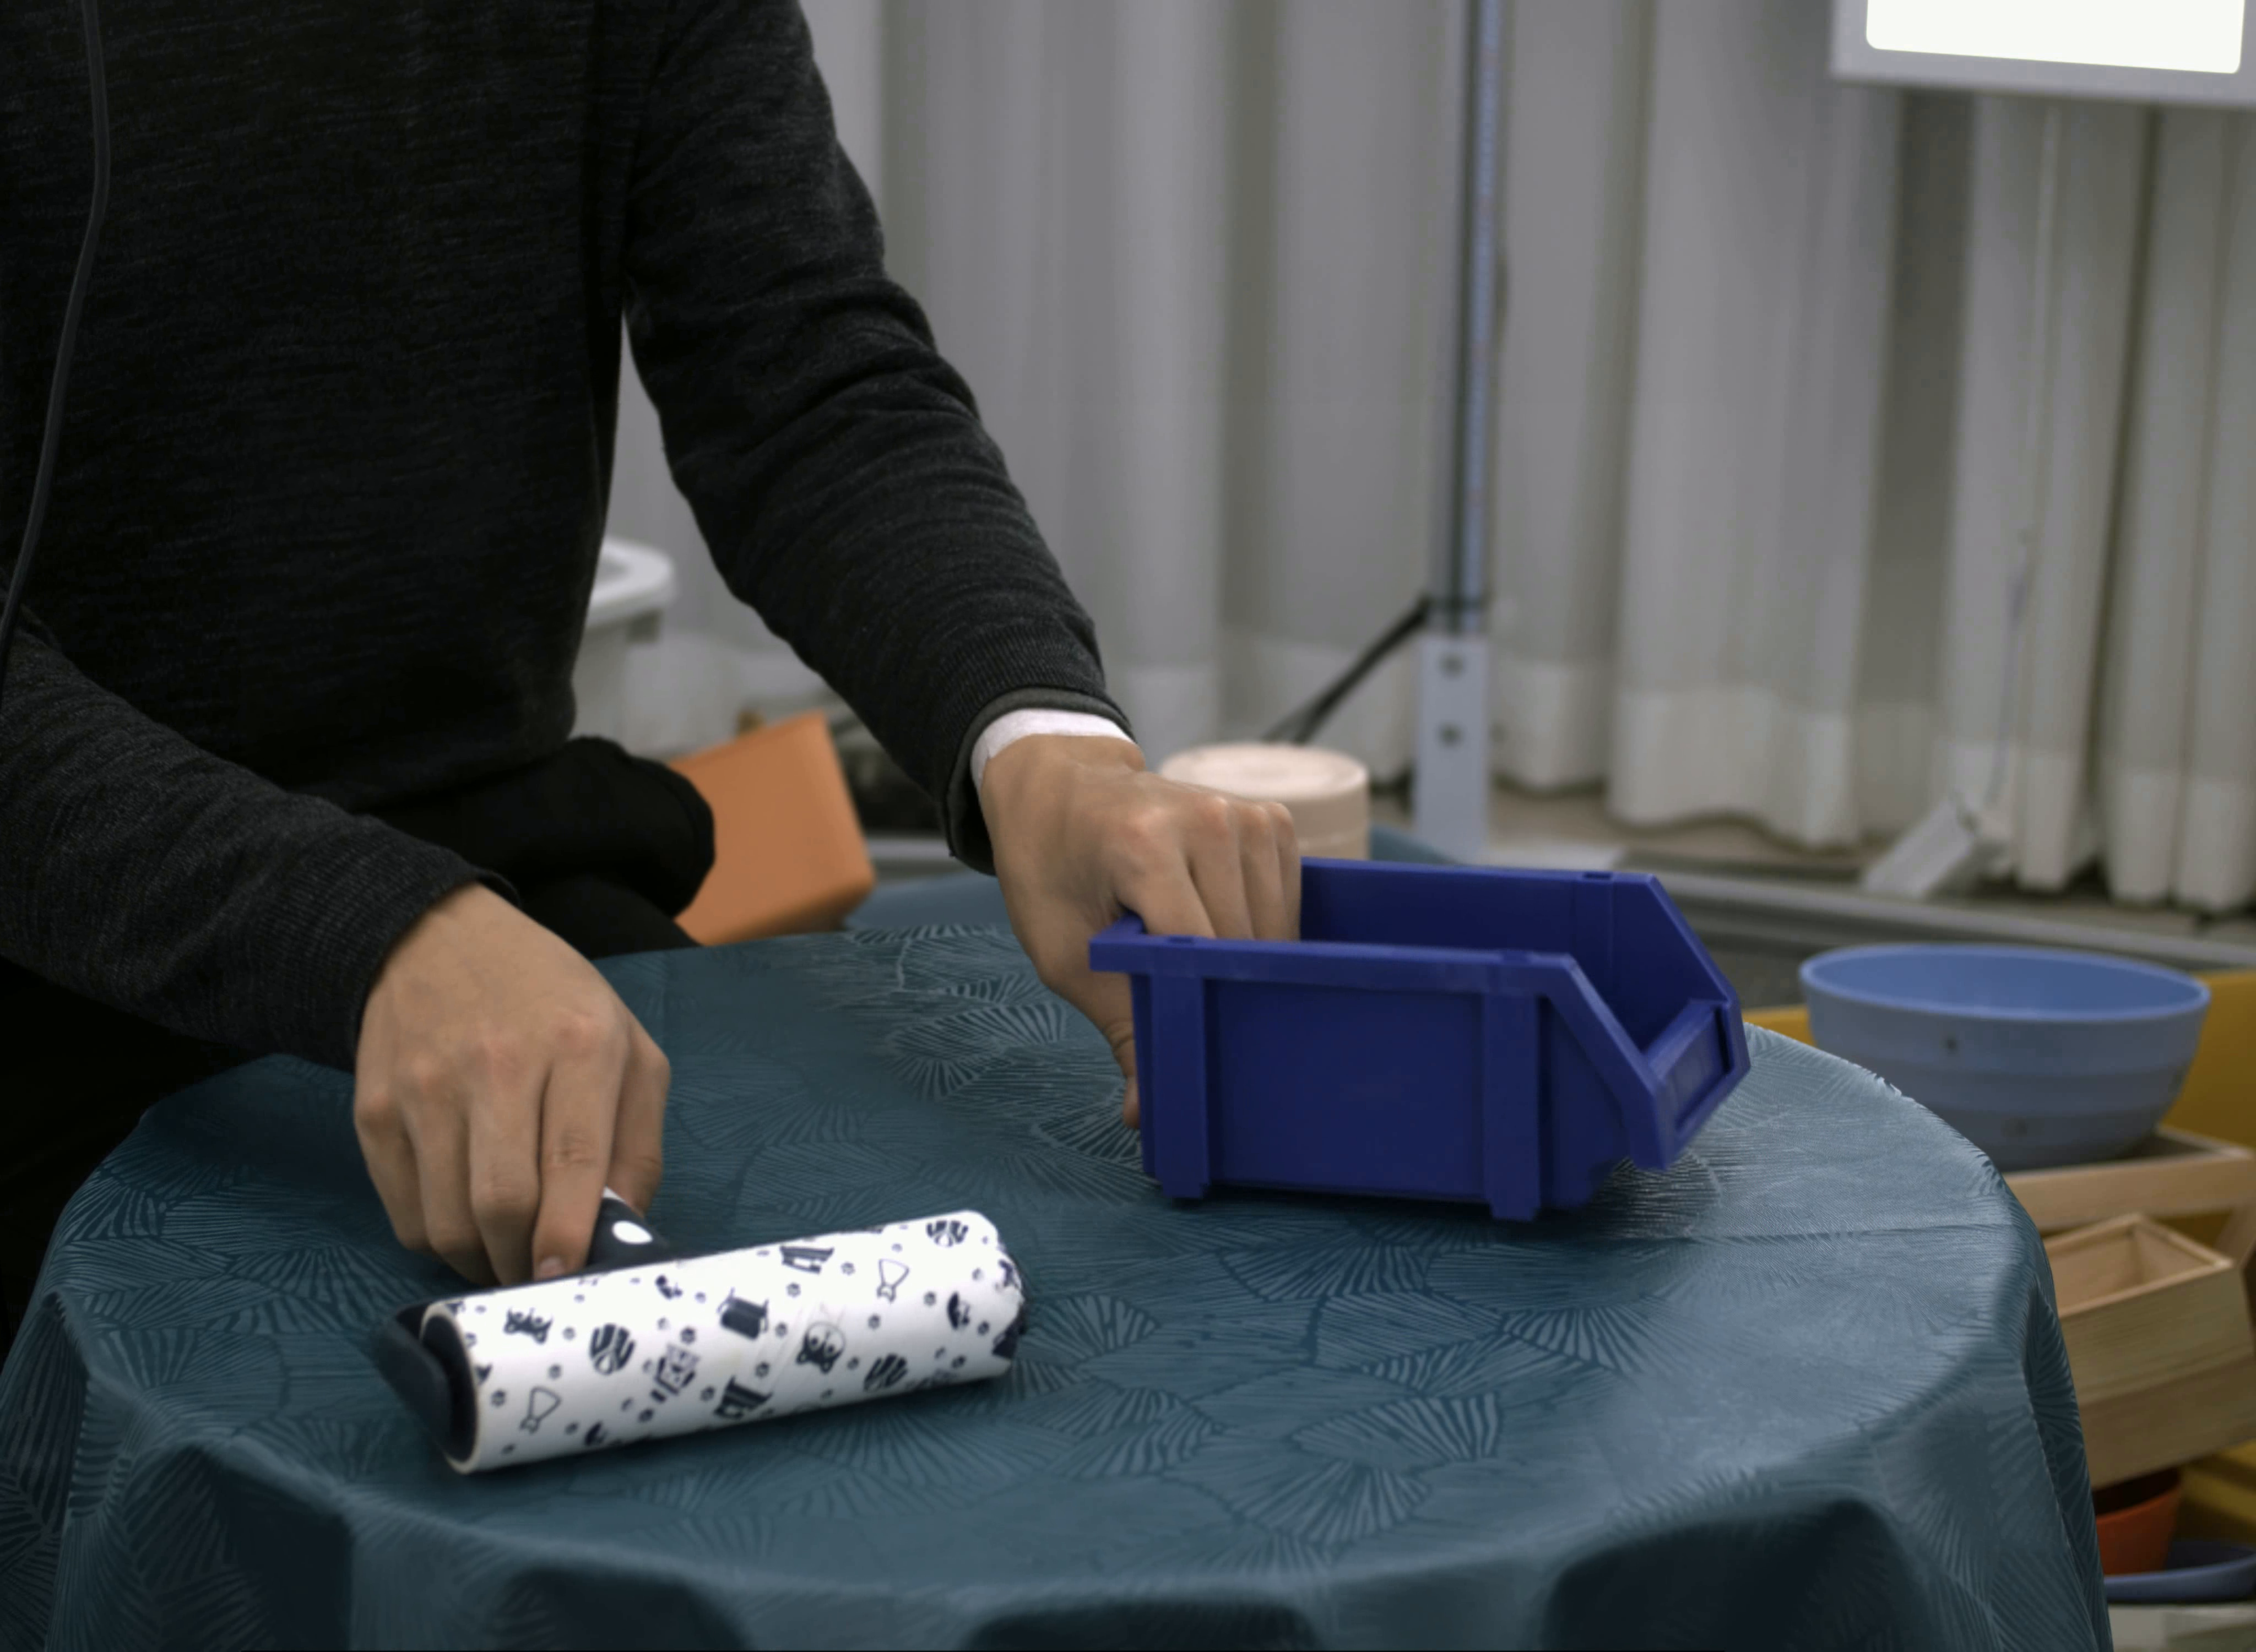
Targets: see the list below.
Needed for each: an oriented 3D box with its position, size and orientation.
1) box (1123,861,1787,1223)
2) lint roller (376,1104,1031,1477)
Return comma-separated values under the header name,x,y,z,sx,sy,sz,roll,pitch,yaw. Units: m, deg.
name,x,y,z,sx,sy,sz,roll,pitch,yaw
box,0.104,0.064,1.630,0.178,0.082,0.124,1,13,18
lint roller,-0.157,0.116,1.513,0.177,0.051,0.244,-8,18,-26
